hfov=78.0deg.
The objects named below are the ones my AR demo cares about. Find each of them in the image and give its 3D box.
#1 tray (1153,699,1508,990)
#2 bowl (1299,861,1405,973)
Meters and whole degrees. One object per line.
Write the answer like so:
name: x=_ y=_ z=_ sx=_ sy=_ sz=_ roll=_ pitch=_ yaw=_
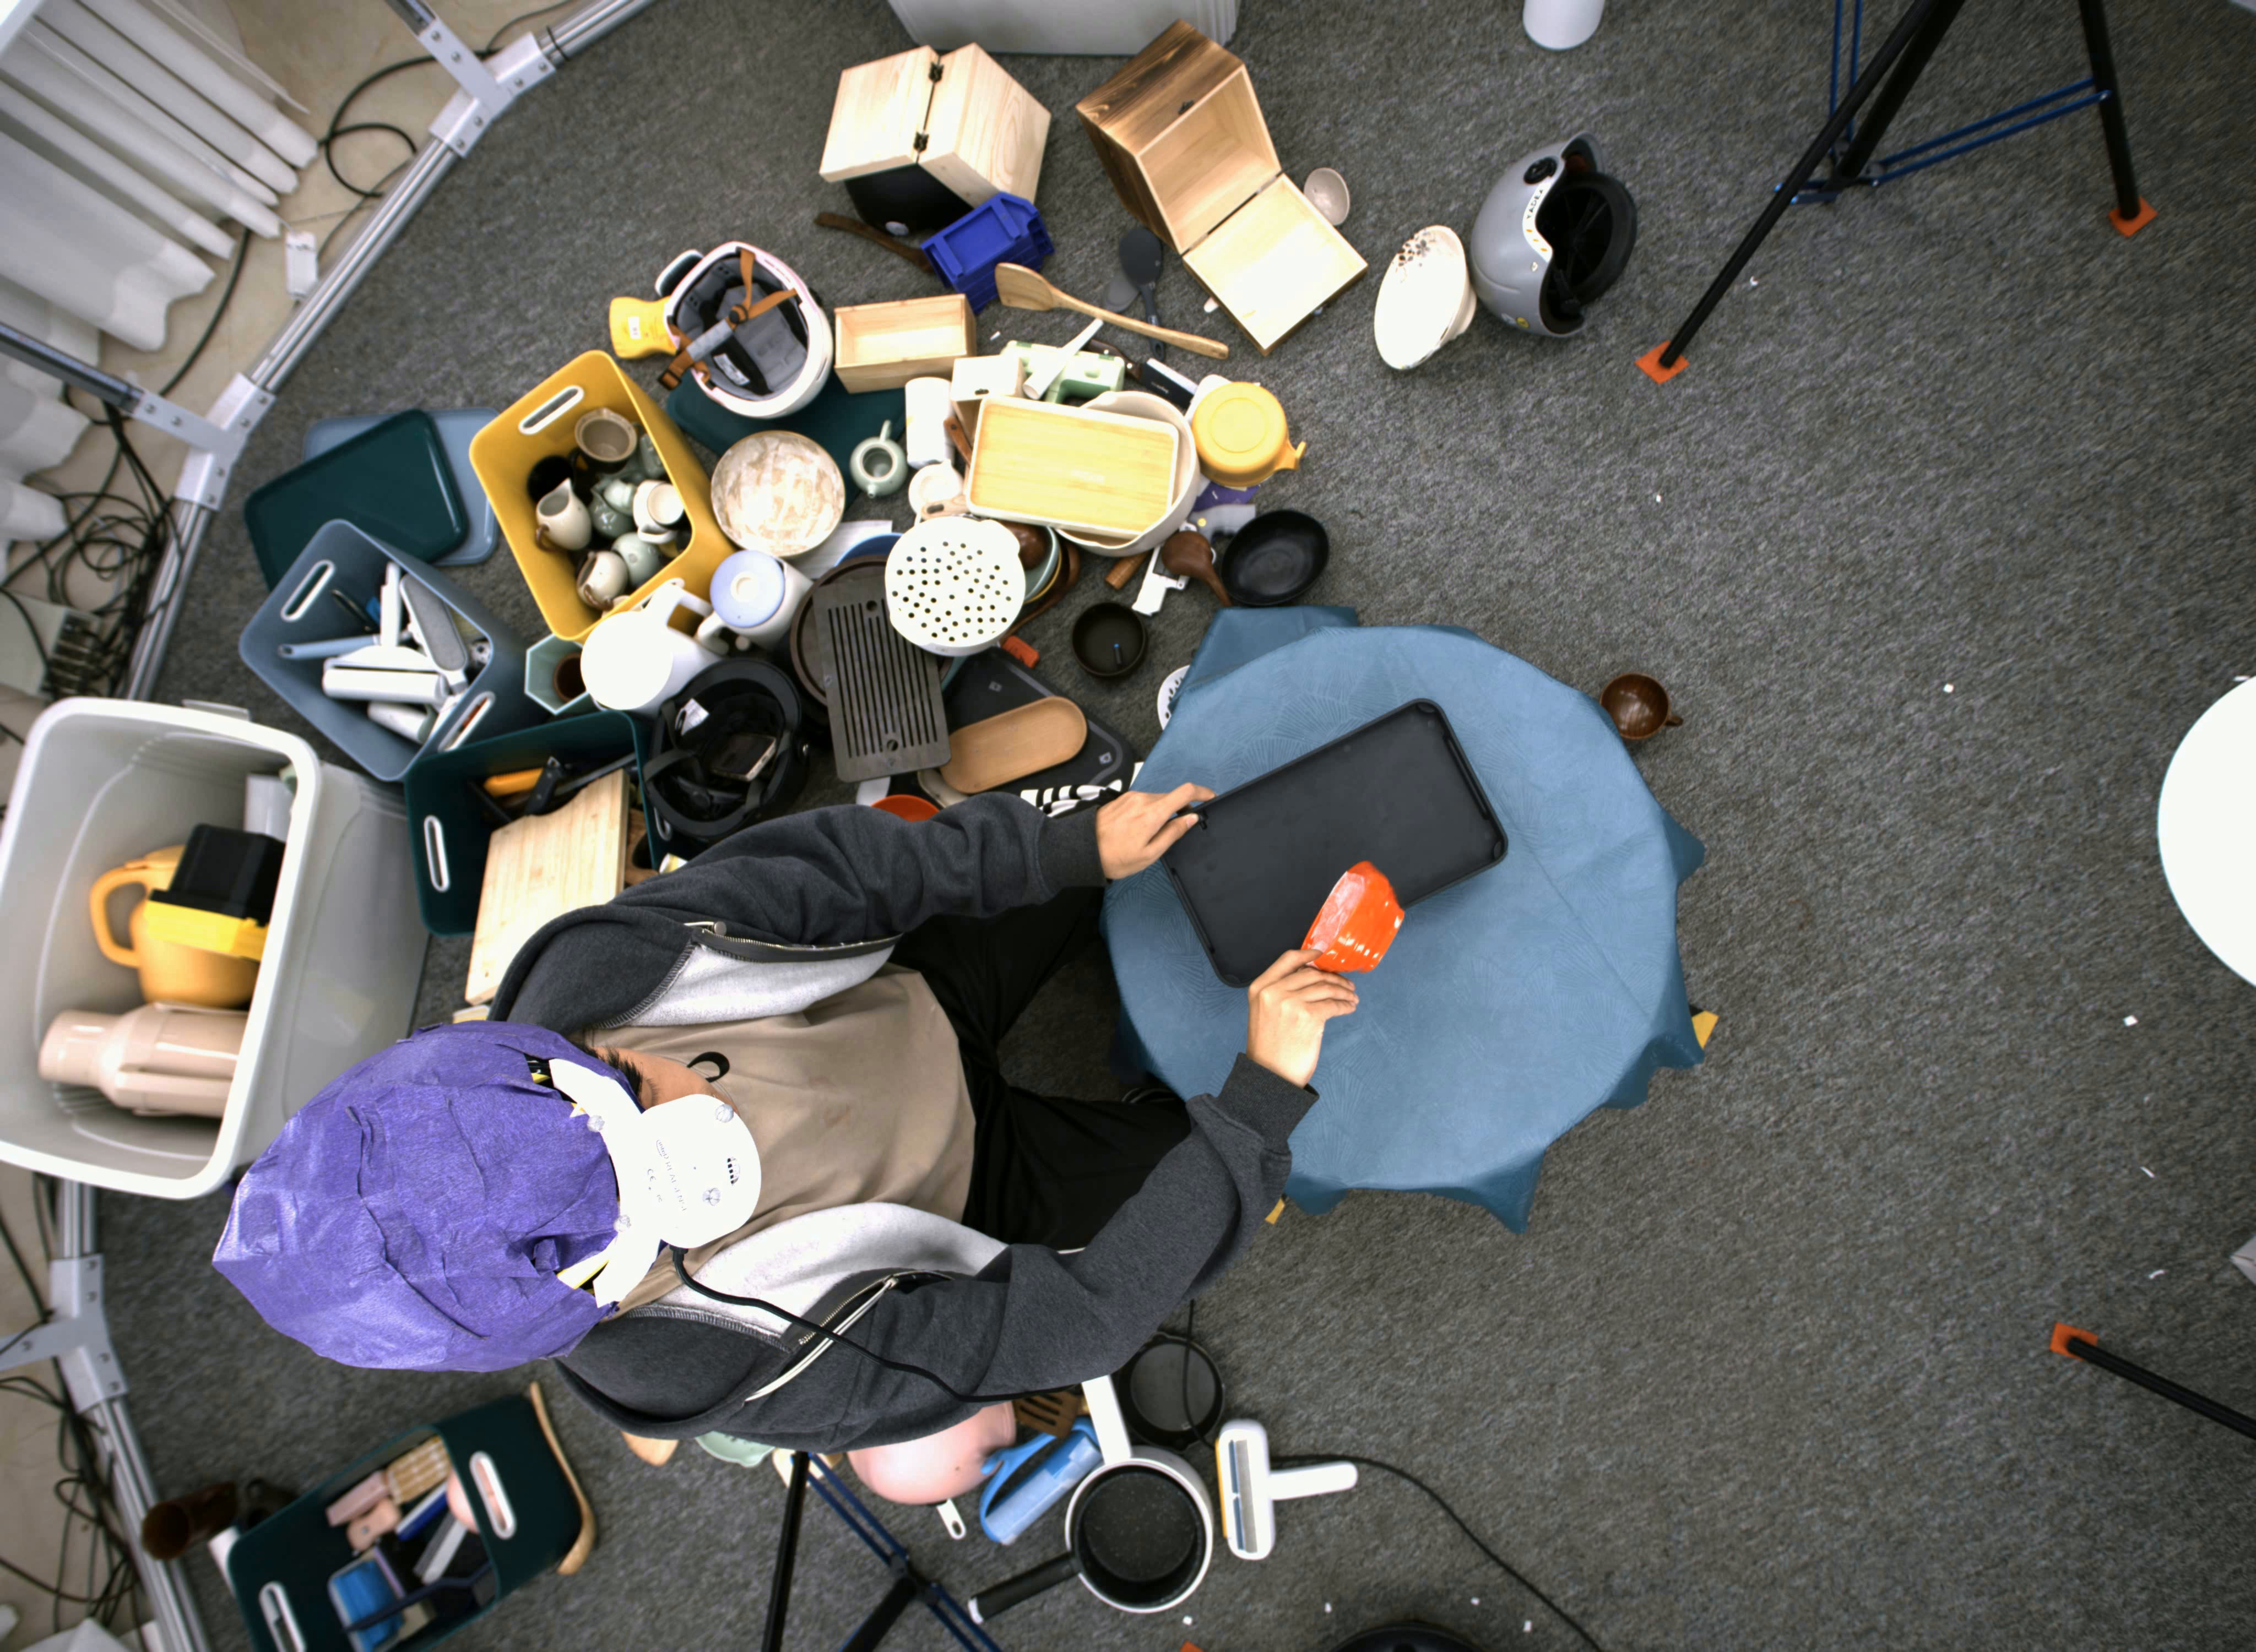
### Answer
tray: x=0.200 y=0.018 z=1.380 sx=0.319 sy=0.037 sz=0.184 roll=-27 pitch=87 yaw=4
bowl: x=0.206 y=0.090 z=1.244 sx=0.051 sy=0.118 sz=0.119 roll=32 pitch=91 yaw=-5
